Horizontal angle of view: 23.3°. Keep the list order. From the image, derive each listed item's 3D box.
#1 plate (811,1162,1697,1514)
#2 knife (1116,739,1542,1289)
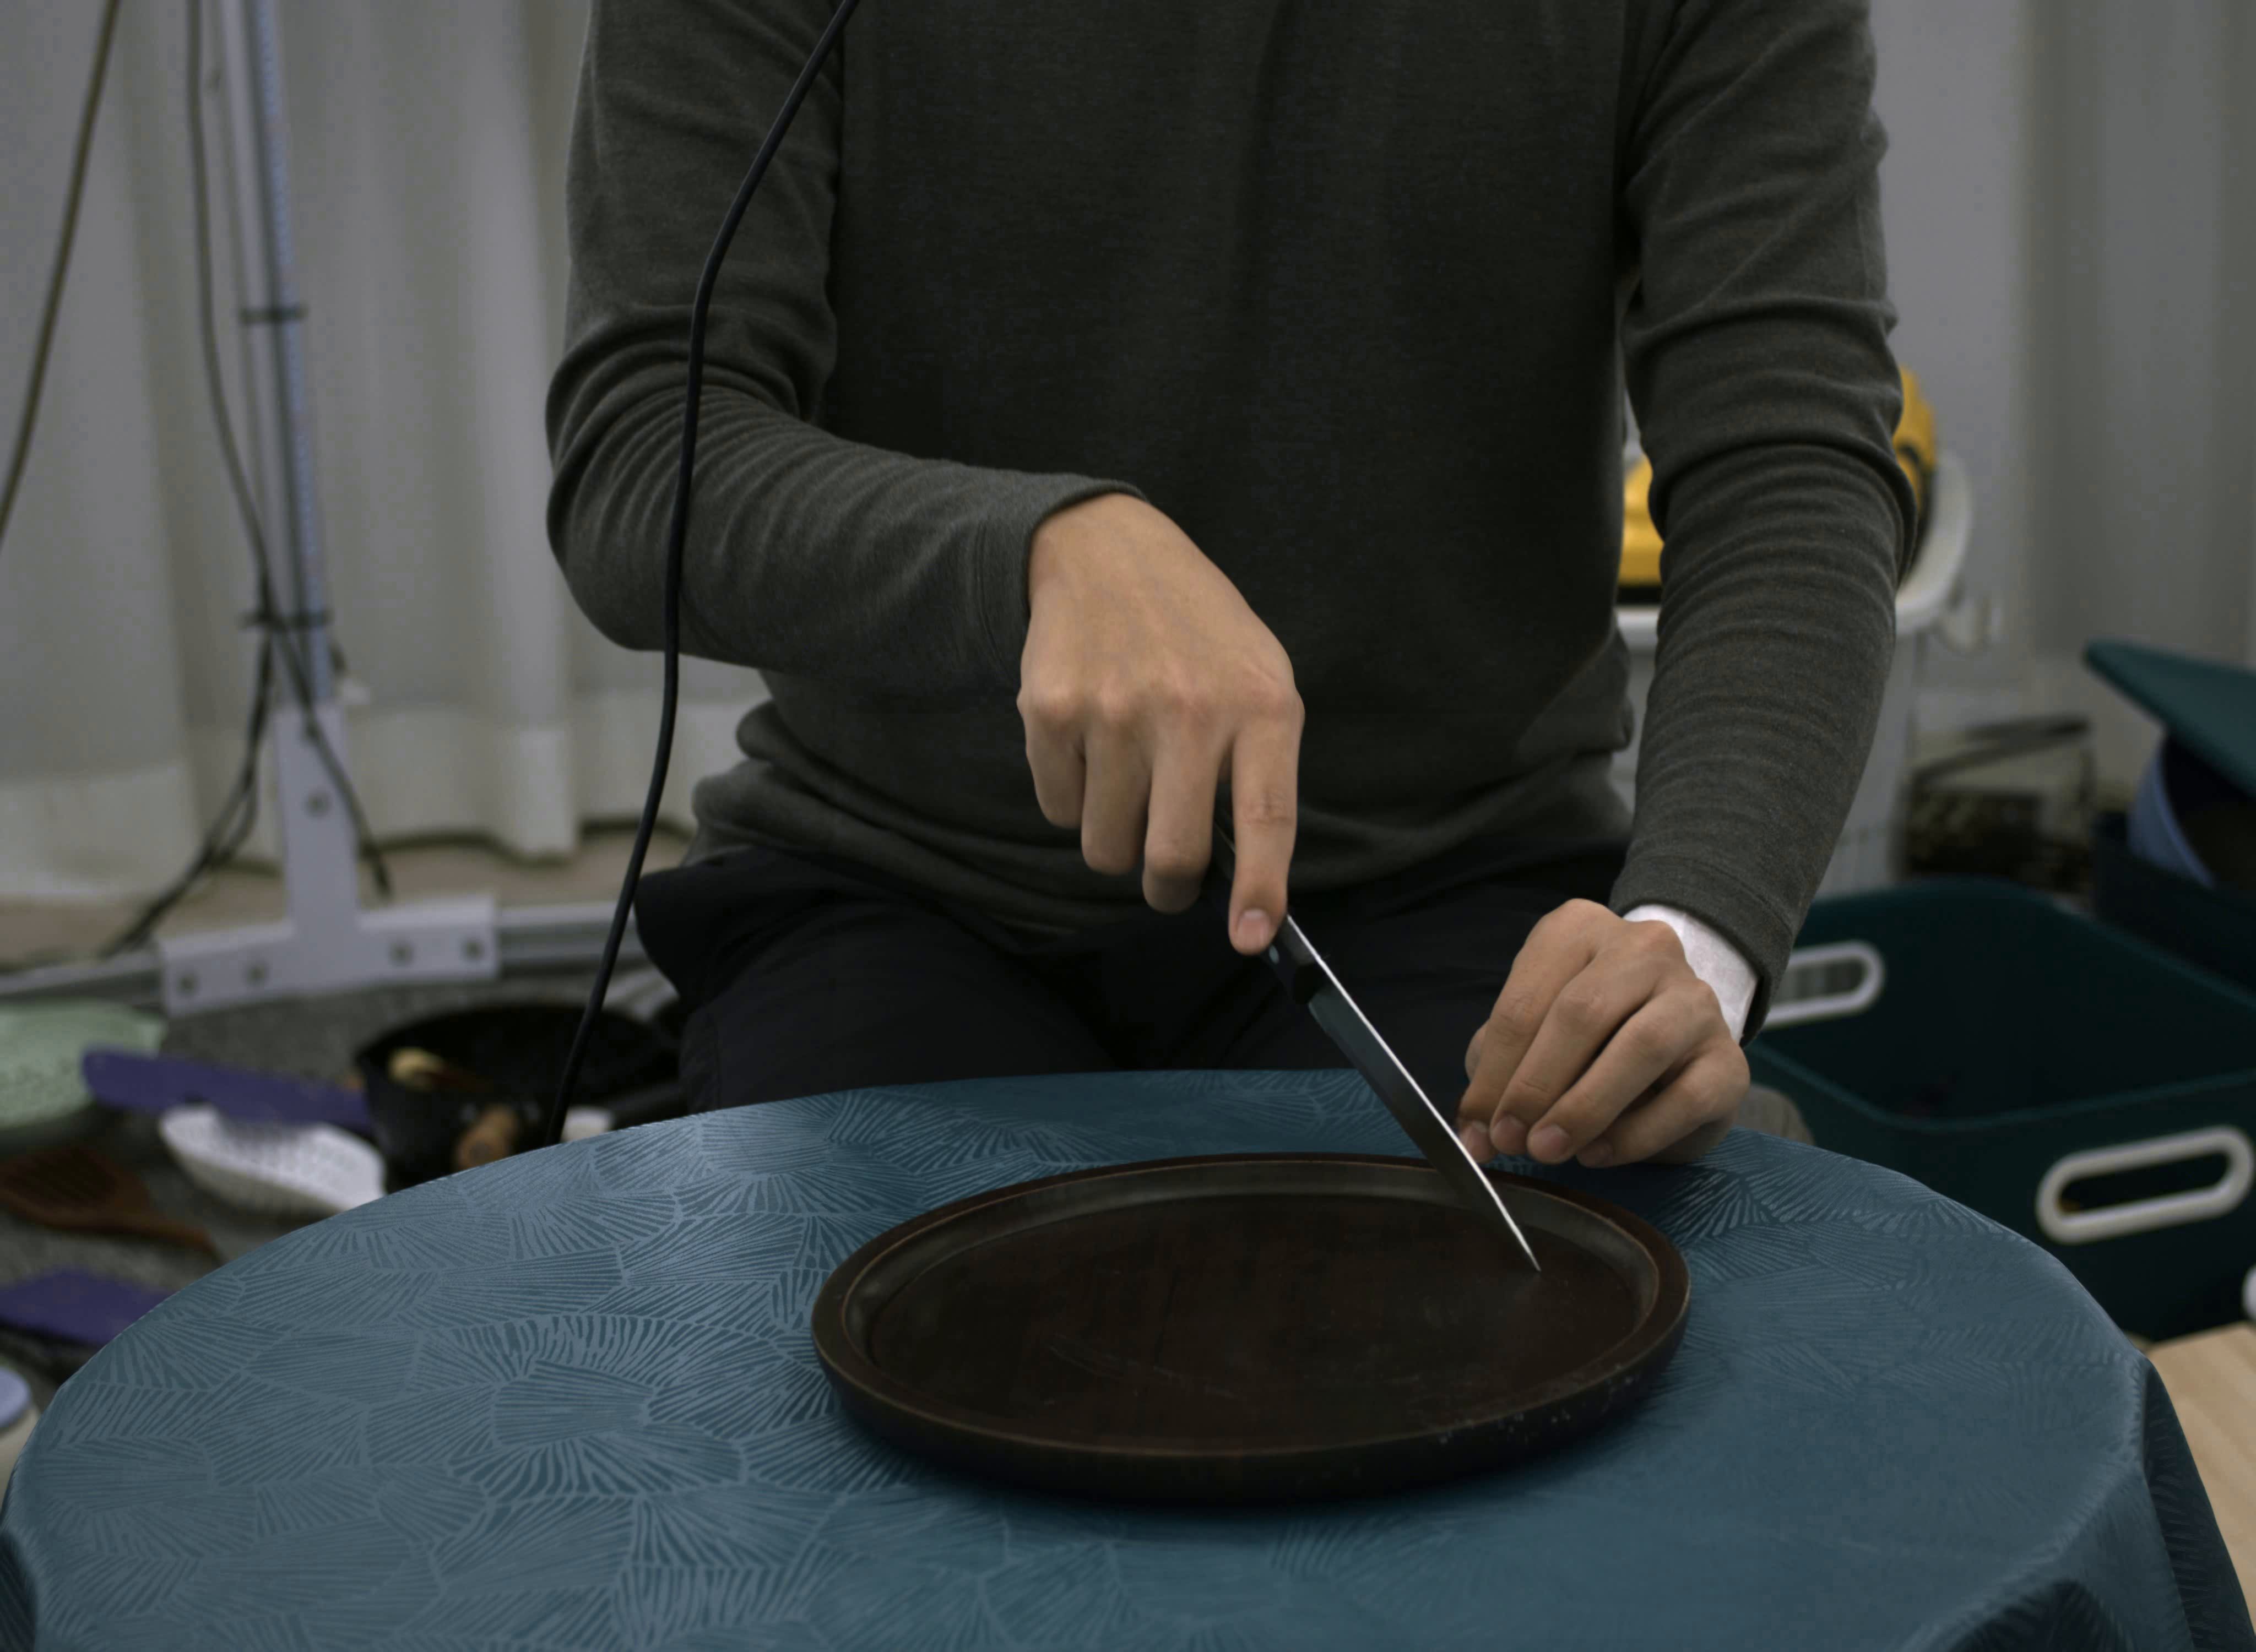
[{"bbox_3d":[0.036,0.143,1.561,0.254,0.029,0.256,-2,16,0],"label":"plate"},{"bbox_3d":[0.061,0.053,1.655,0.016,0.024,0.241,-10,47,-33],"label":"knife"}]
